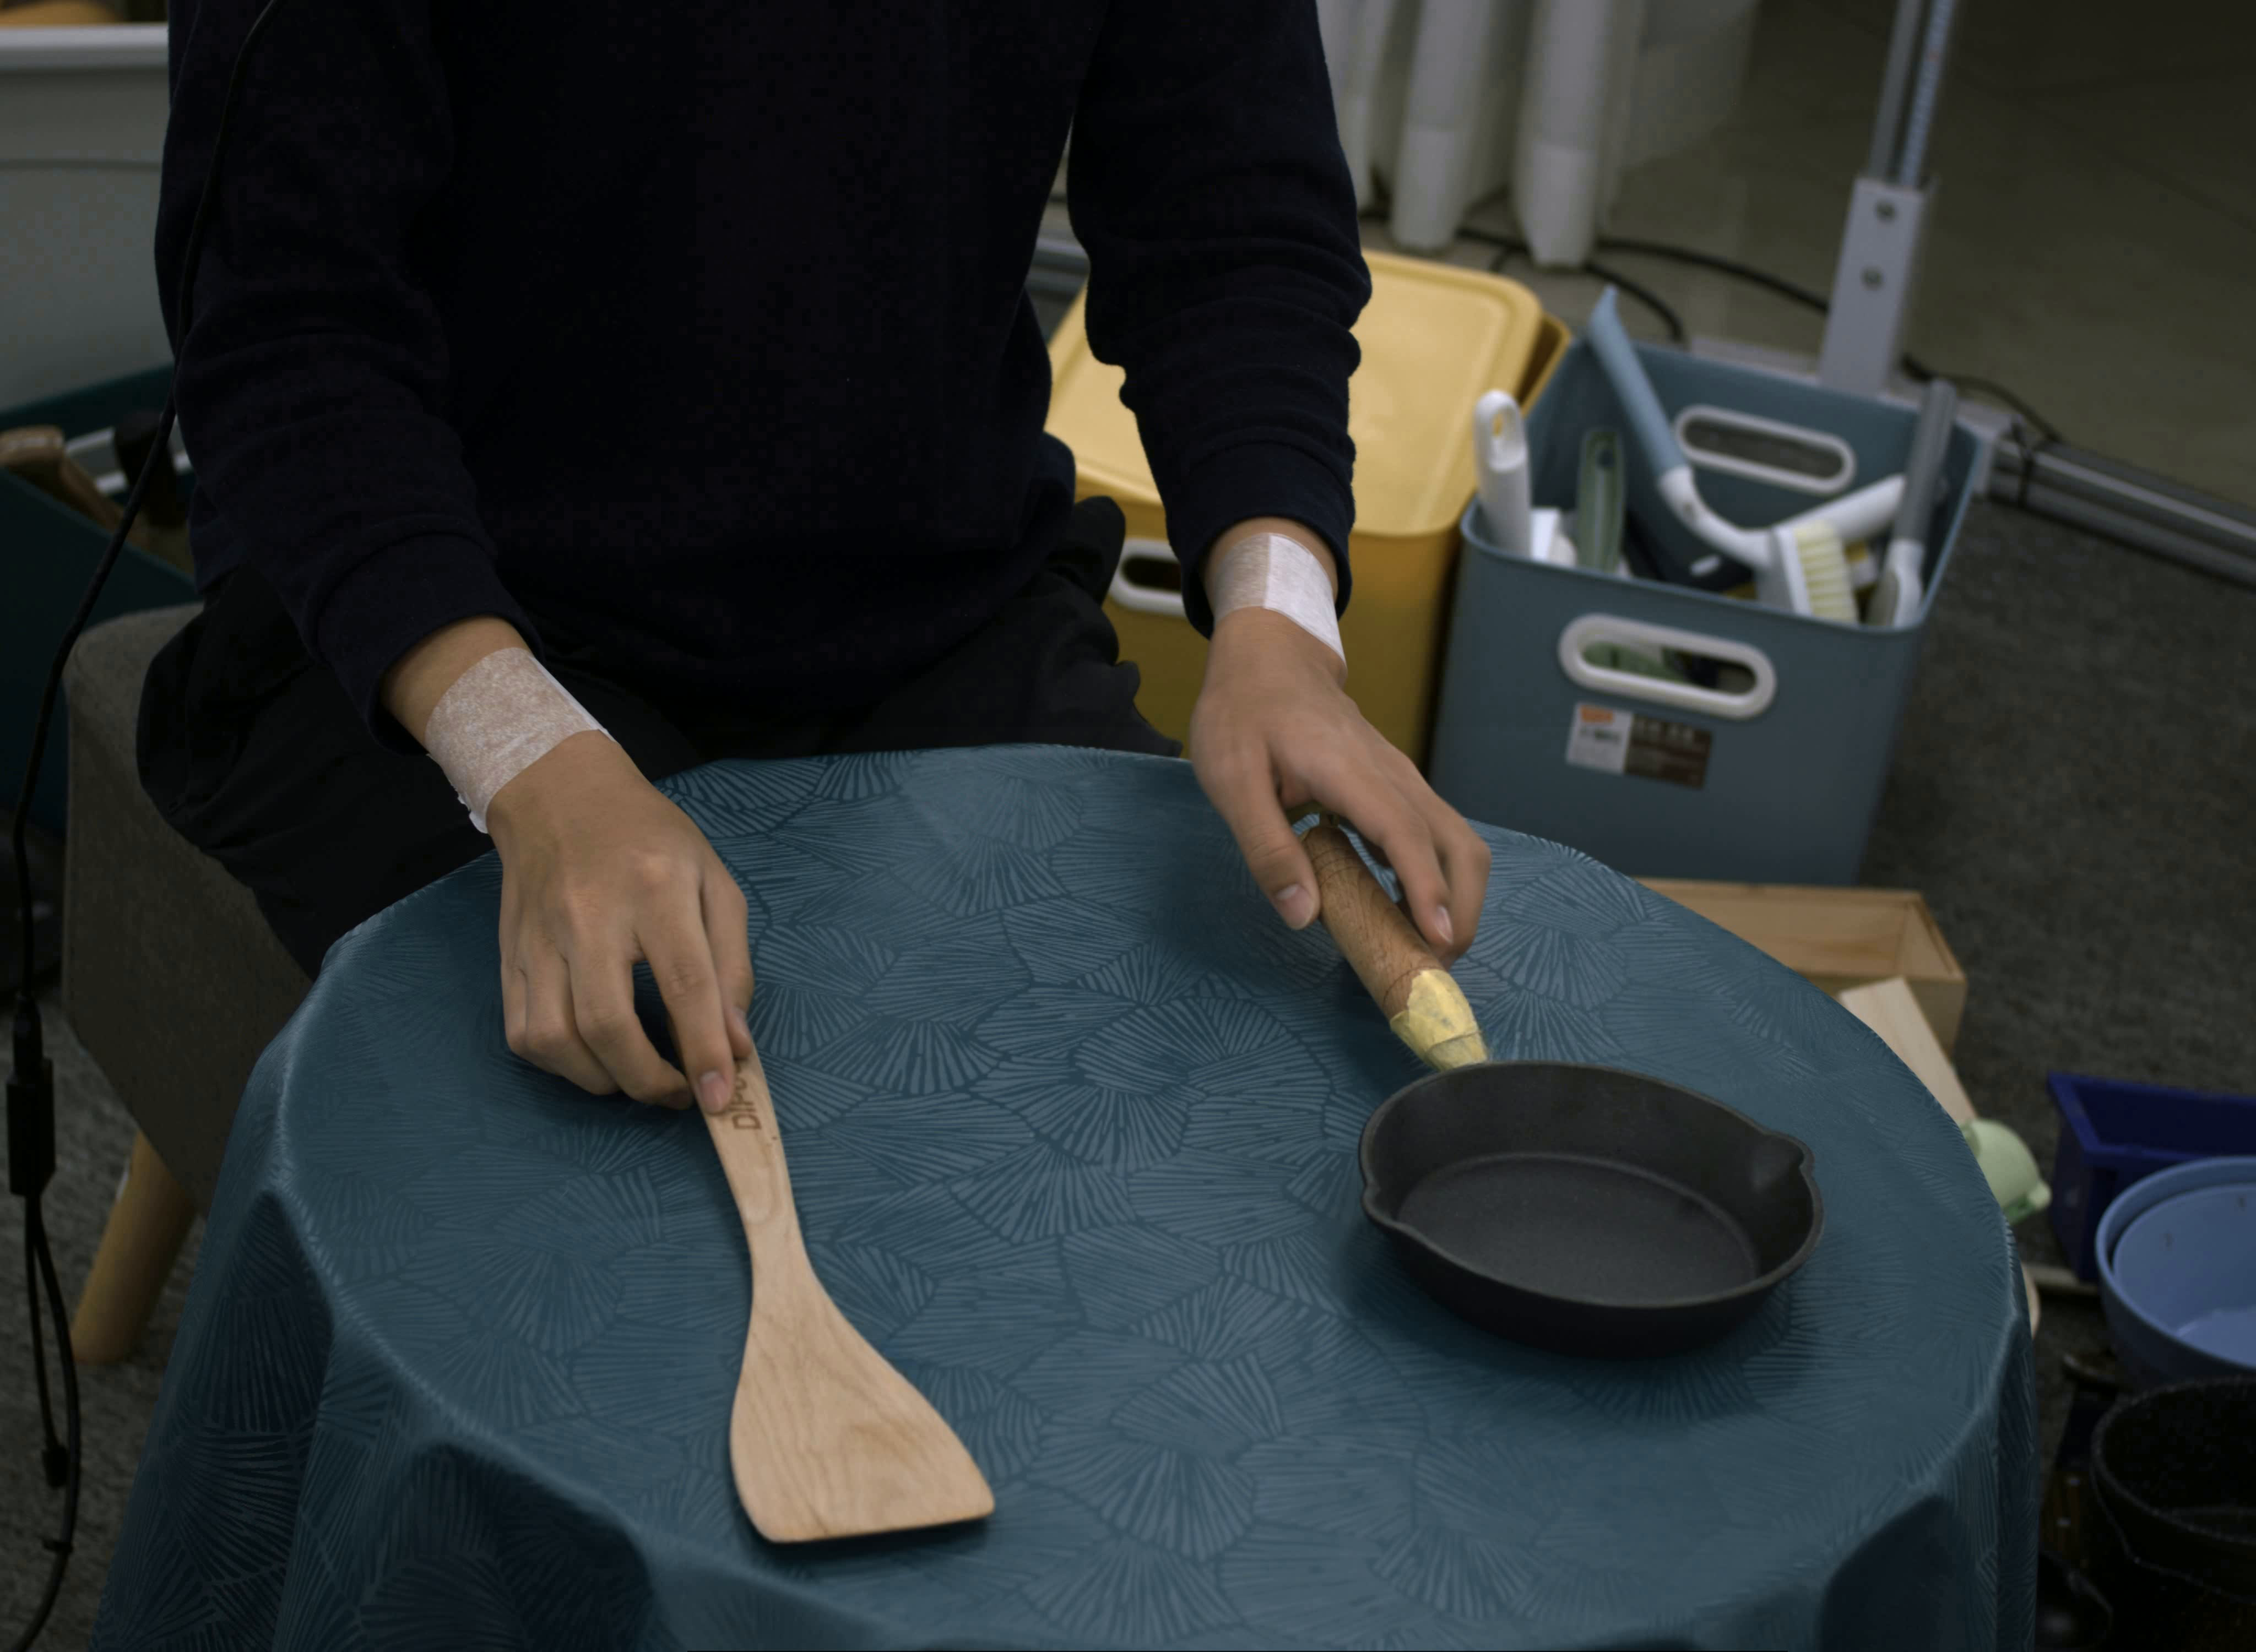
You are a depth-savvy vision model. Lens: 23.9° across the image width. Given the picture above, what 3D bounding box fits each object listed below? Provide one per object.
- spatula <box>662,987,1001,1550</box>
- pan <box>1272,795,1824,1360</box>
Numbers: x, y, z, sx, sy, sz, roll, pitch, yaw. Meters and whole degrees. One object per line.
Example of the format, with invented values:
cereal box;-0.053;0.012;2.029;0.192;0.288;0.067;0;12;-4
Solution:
spatula;-0.111;0.138;1.727;0.079;0.016;0.330;1;30;-16
pan;0.123;0.085;1.850;0.168;0.049;0.327;-5;31;-22
